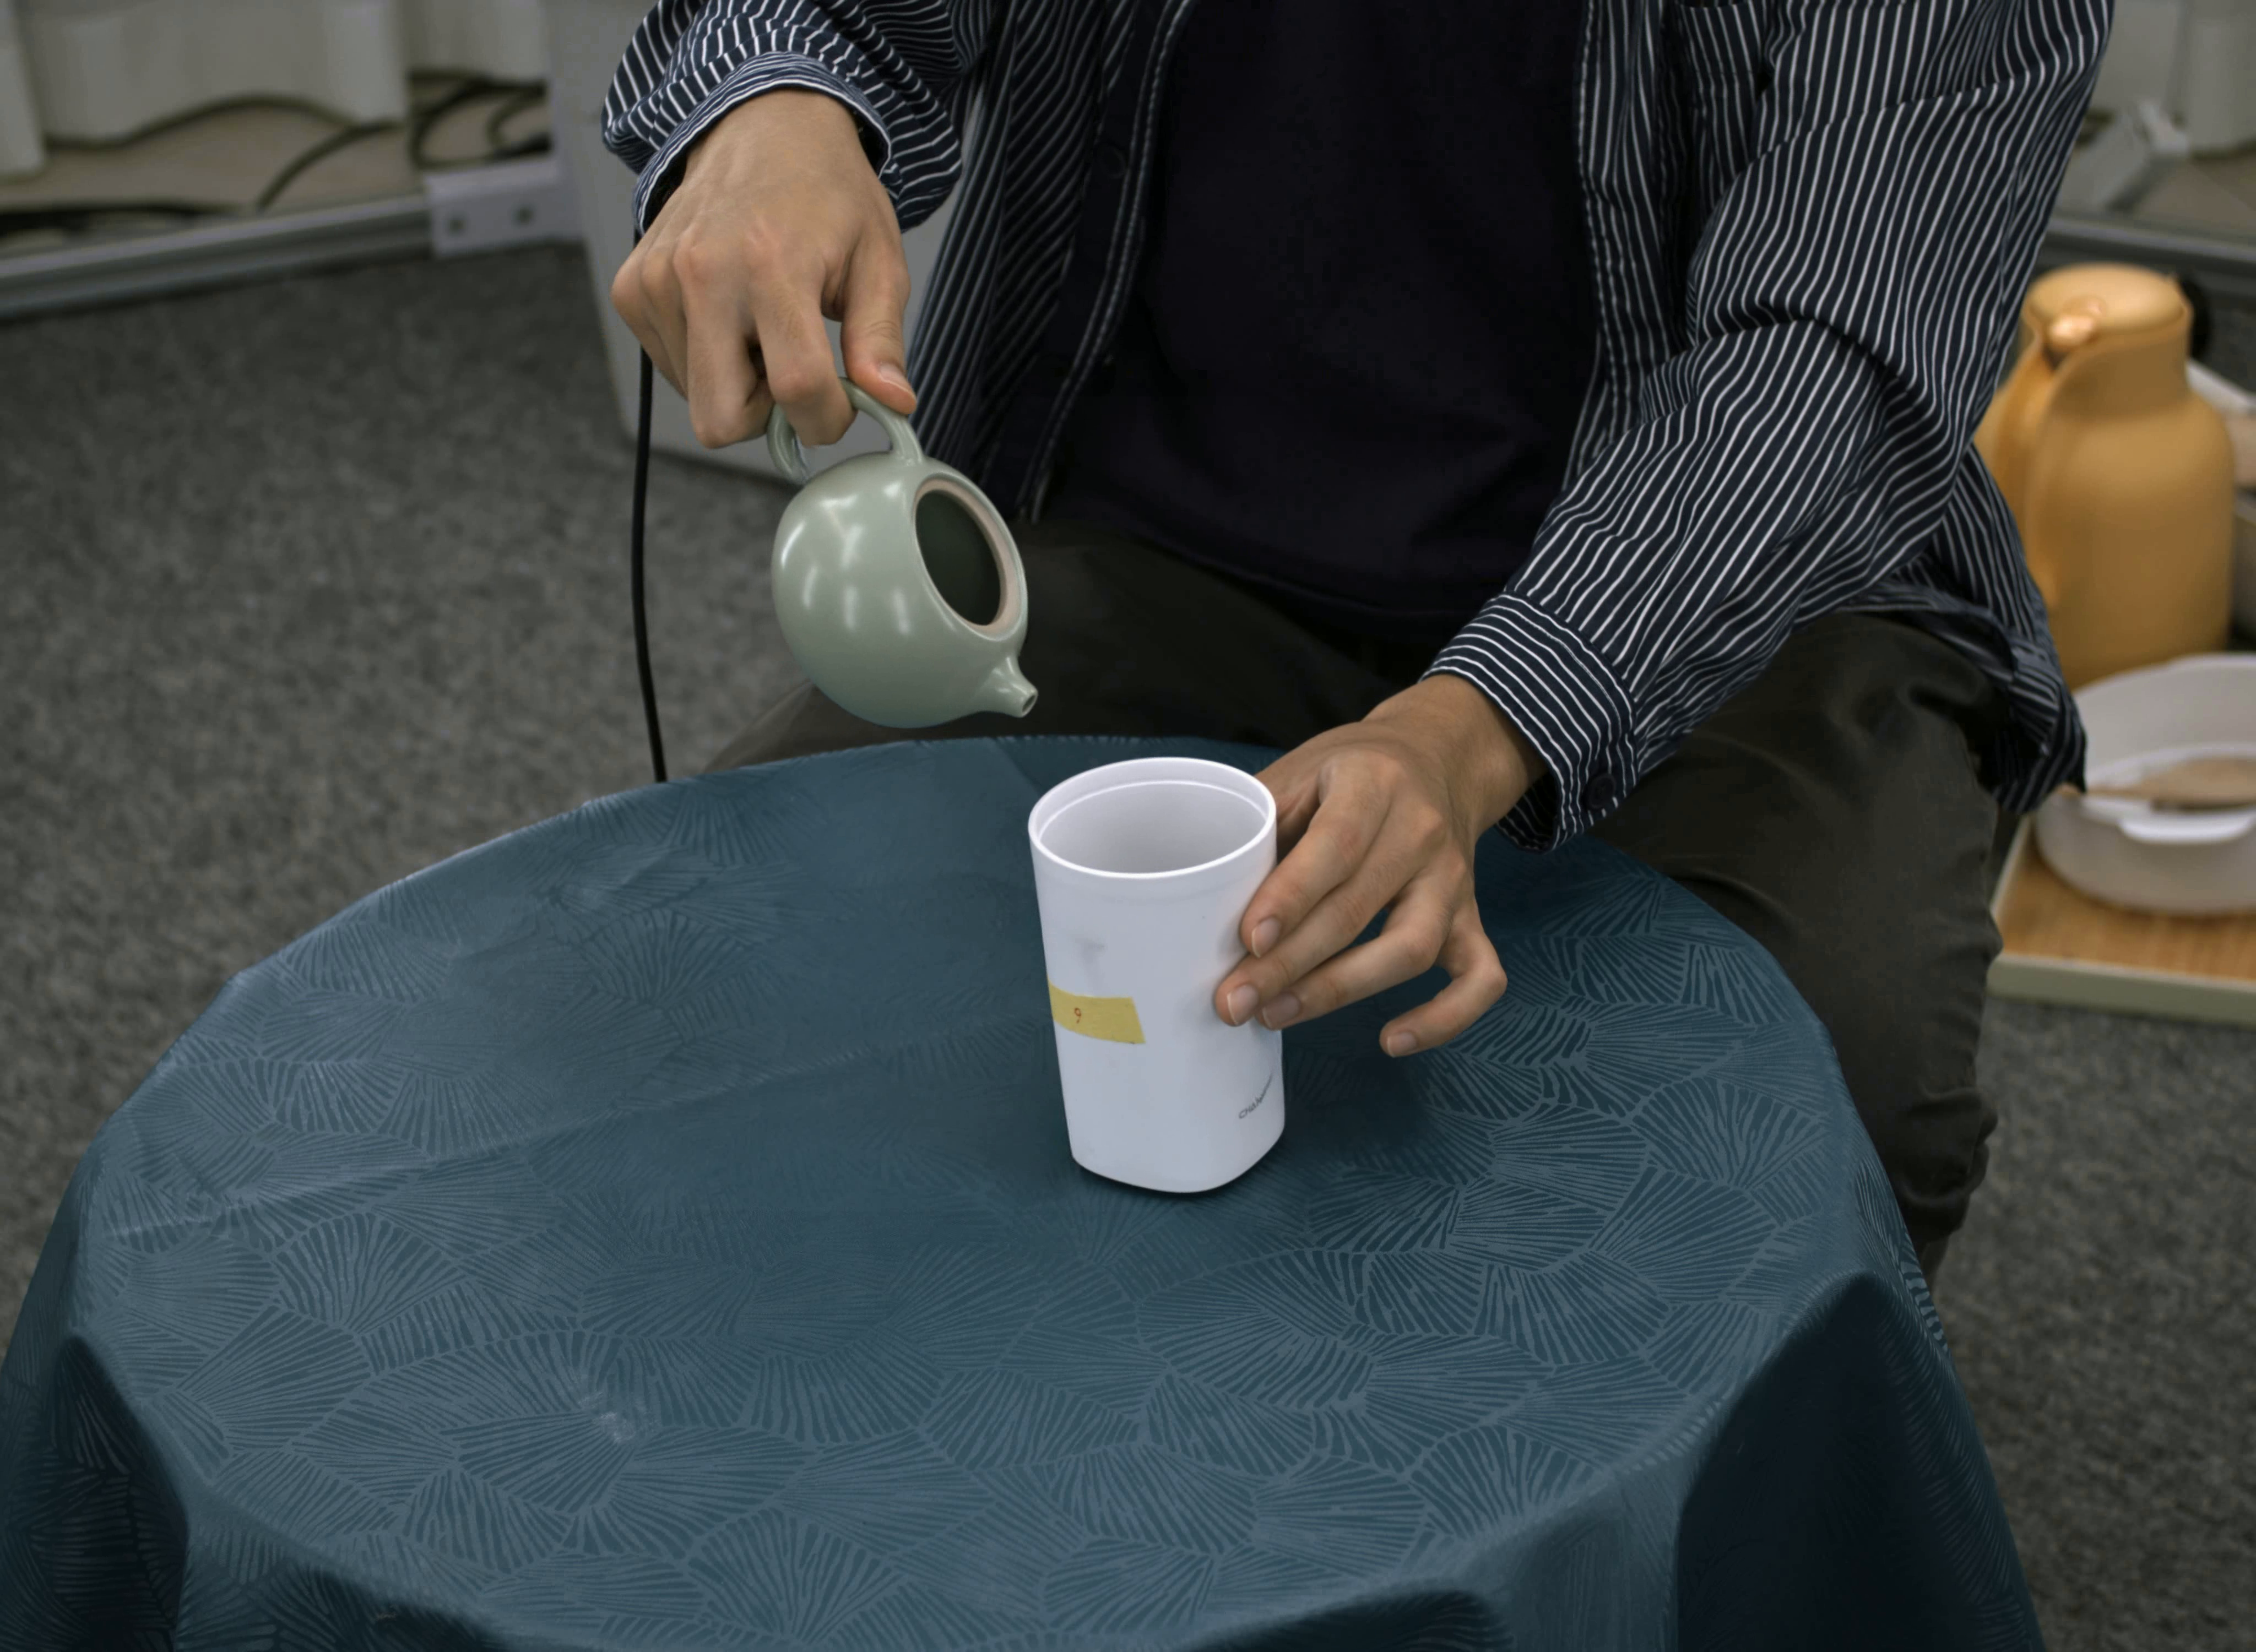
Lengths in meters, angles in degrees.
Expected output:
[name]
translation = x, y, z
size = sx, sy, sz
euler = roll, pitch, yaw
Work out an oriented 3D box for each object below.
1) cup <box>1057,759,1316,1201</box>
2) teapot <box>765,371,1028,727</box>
[cup]
translation = 0.022, 0.052, 1.842
size = 0.081, 0.124, 0.083
euler = -4, 27, 2
[teapot]
translation = -0.080, -0.086, 1.813
size = 0.060, 0.129, 0.092
euler = -26, -5, 31
